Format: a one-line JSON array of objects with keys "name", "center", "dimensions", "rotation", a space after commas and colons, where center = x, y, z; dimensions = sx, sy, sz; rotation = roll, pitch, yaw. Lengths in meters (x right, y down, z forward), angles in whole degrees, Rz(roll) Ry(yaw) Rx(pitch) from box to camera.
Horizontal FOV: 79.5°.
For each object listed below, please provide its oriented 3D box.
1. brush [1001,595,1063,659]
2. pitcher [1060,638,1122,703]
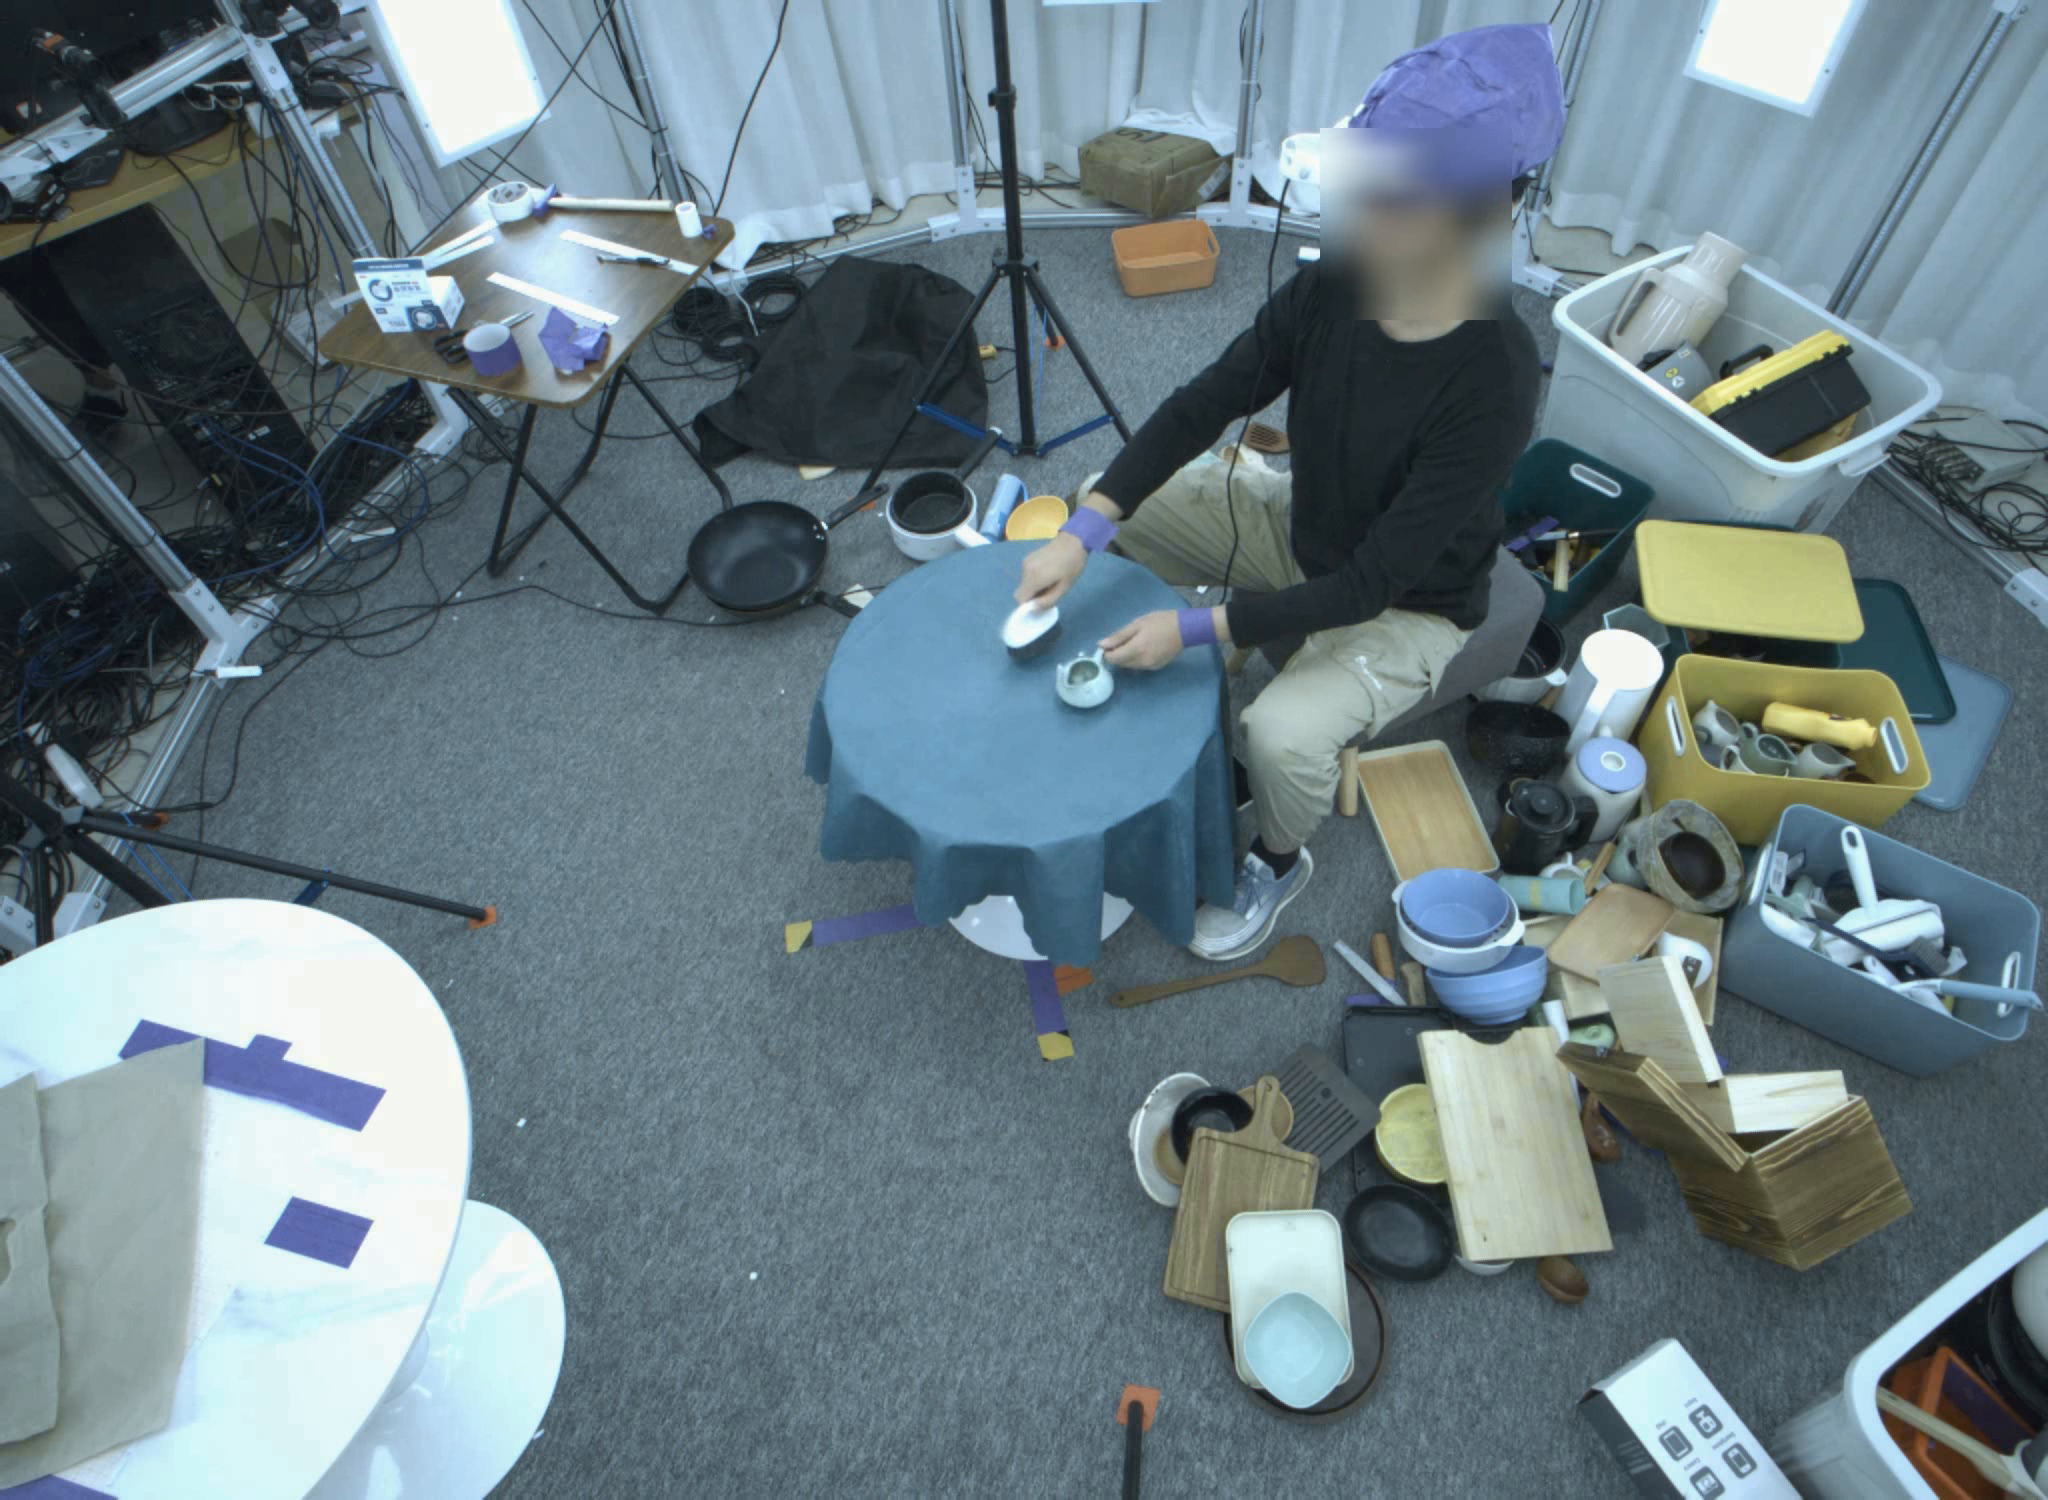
[{"name": "brush", "center": [0.008, -0.194, 1.859], "dimensions": [0.100, 0.073, 0.049], "rotation": [-36, 48, -17]}, {"name": "pitcher", "center": [0.104, -0.120, 1.832], "dimensions": [0.108, 0.061, 0.084], "rotation": [-42, 50, -5]}]
